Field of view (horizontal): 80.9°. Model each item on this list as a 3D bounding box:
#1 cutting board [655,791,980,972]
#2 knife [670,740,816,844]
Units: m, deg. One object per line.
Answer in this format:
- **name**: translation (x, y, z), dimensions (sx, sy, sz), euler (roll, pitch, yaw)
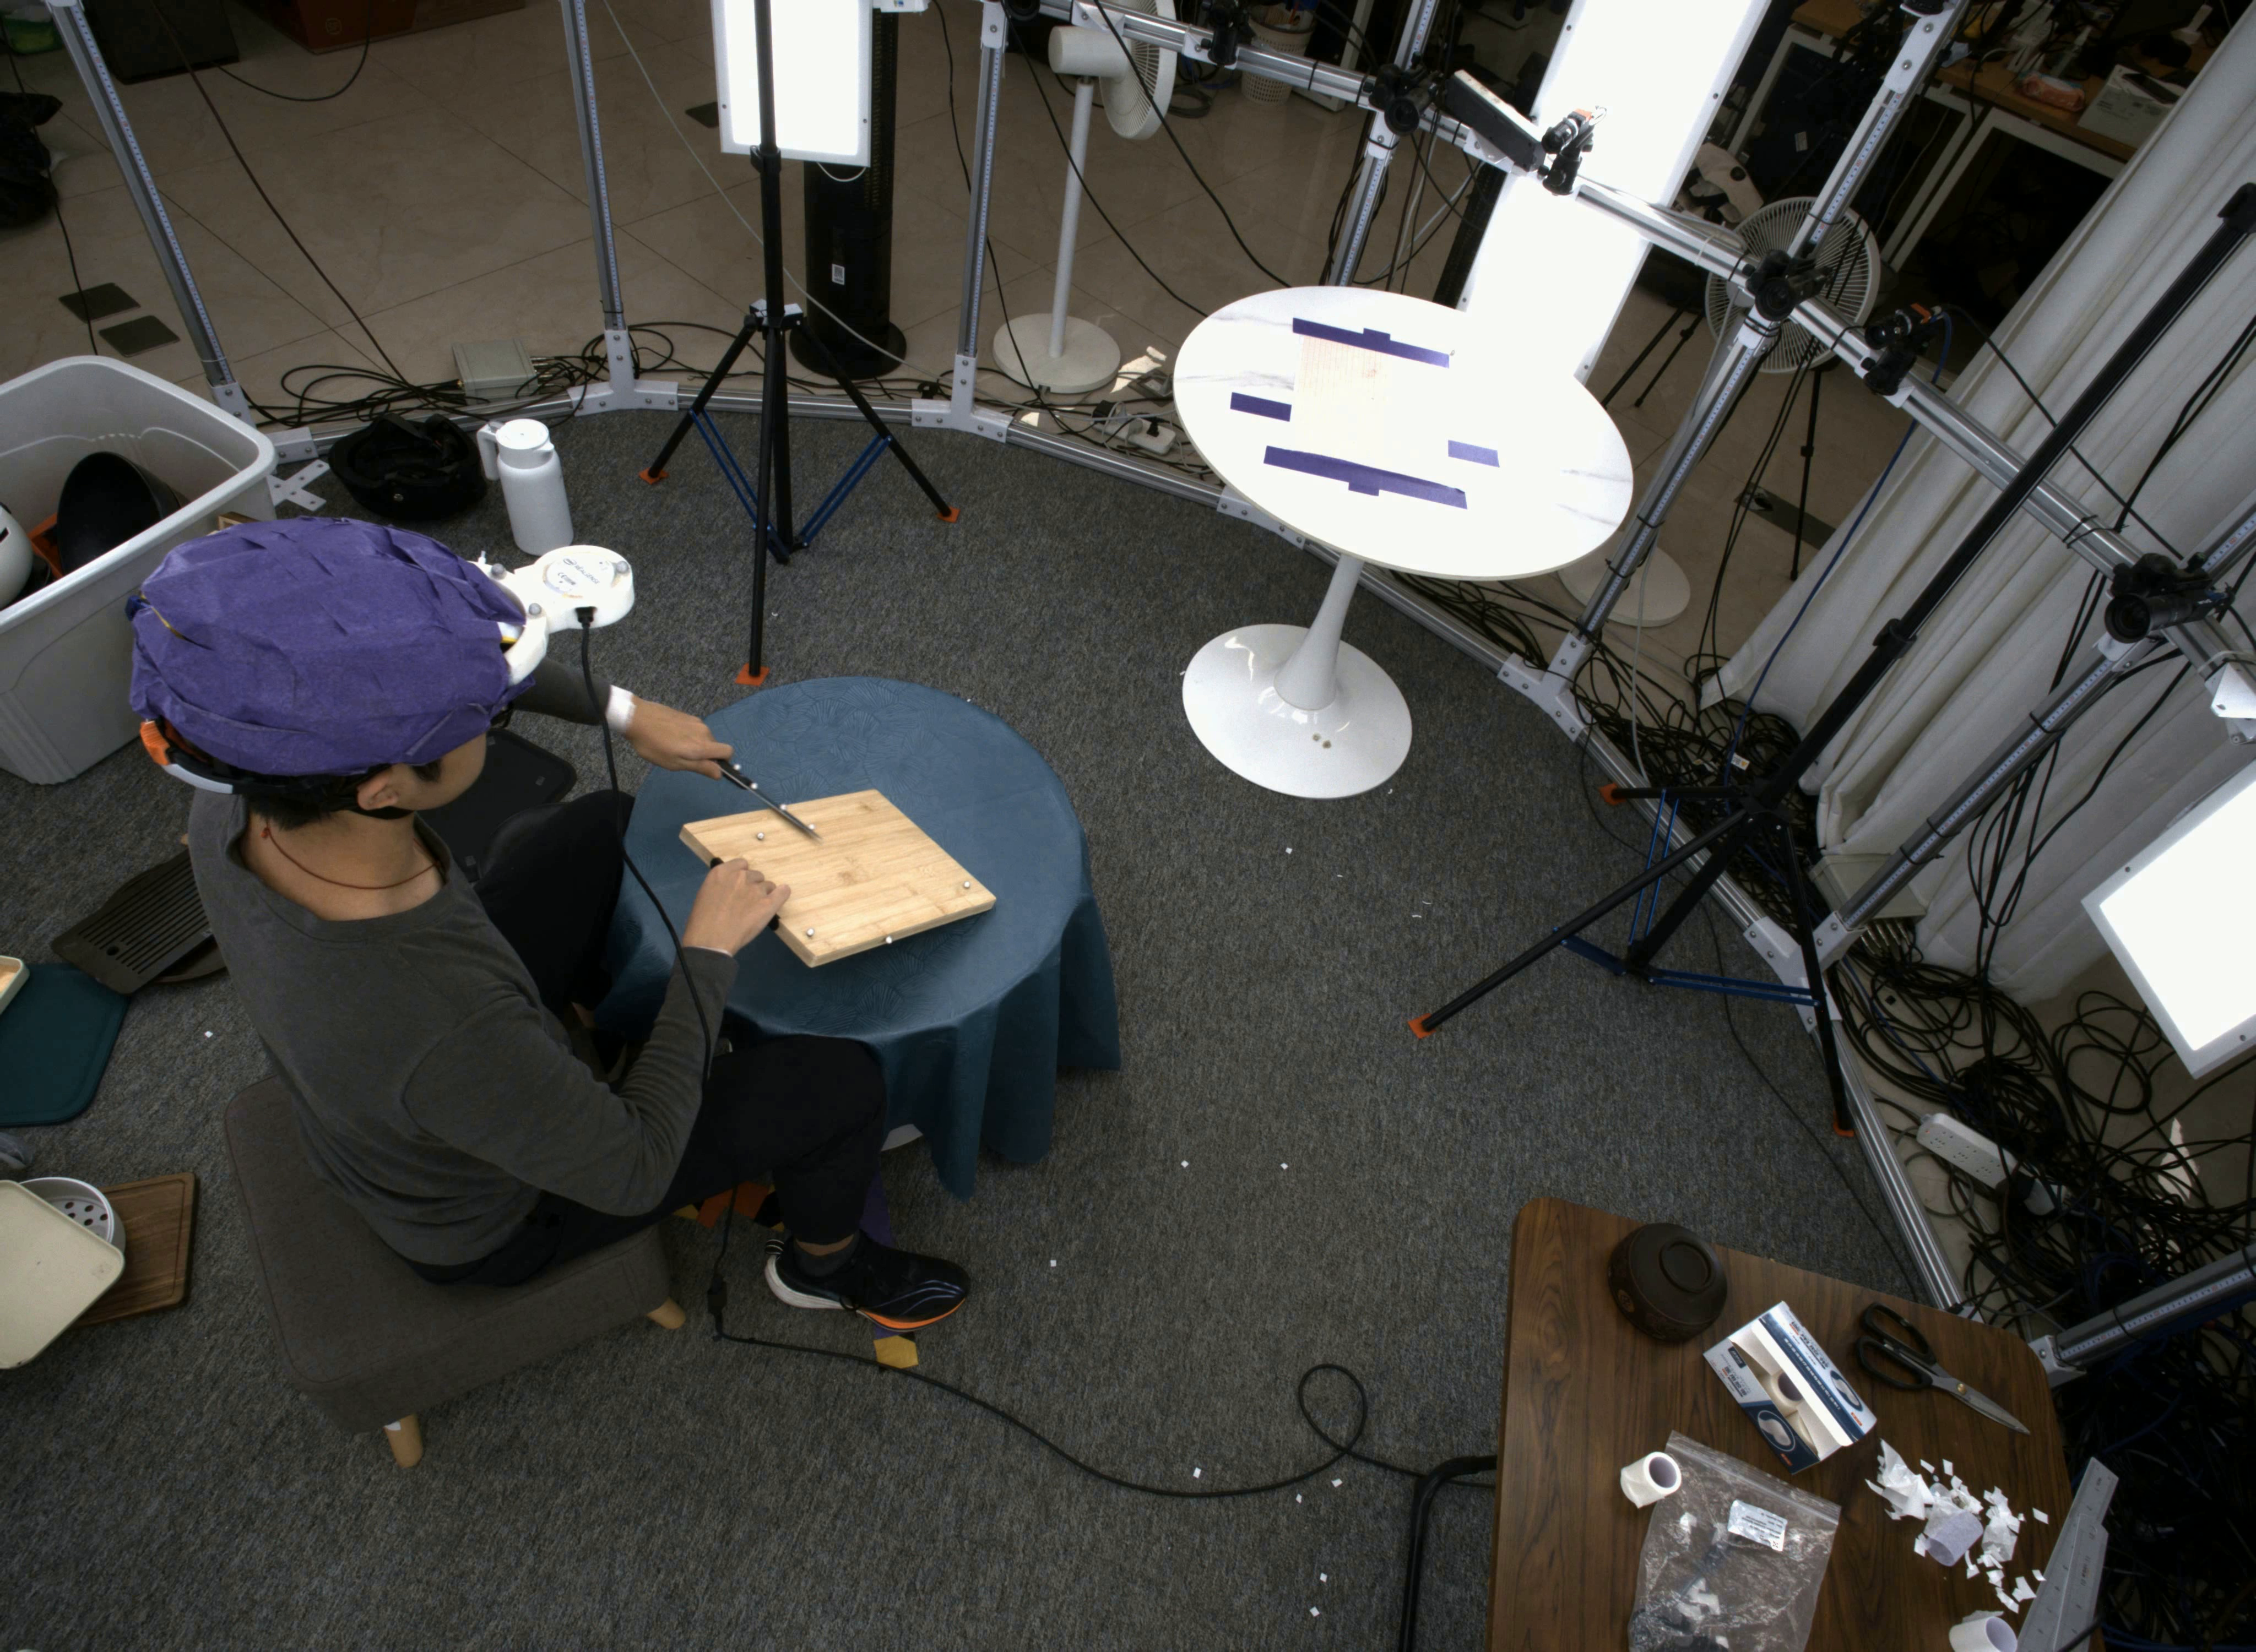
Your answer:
- **cutting board**: translation (-0.367, 0.055, 1.590), dimensions (0.245, 0.024, 0.352), euler (39, 25, 16)
- **knife**: translation (-0.483, -0.043, 1.609), dimensions (0.234, 0.016, 0.024), euler (33, 10, 8)
